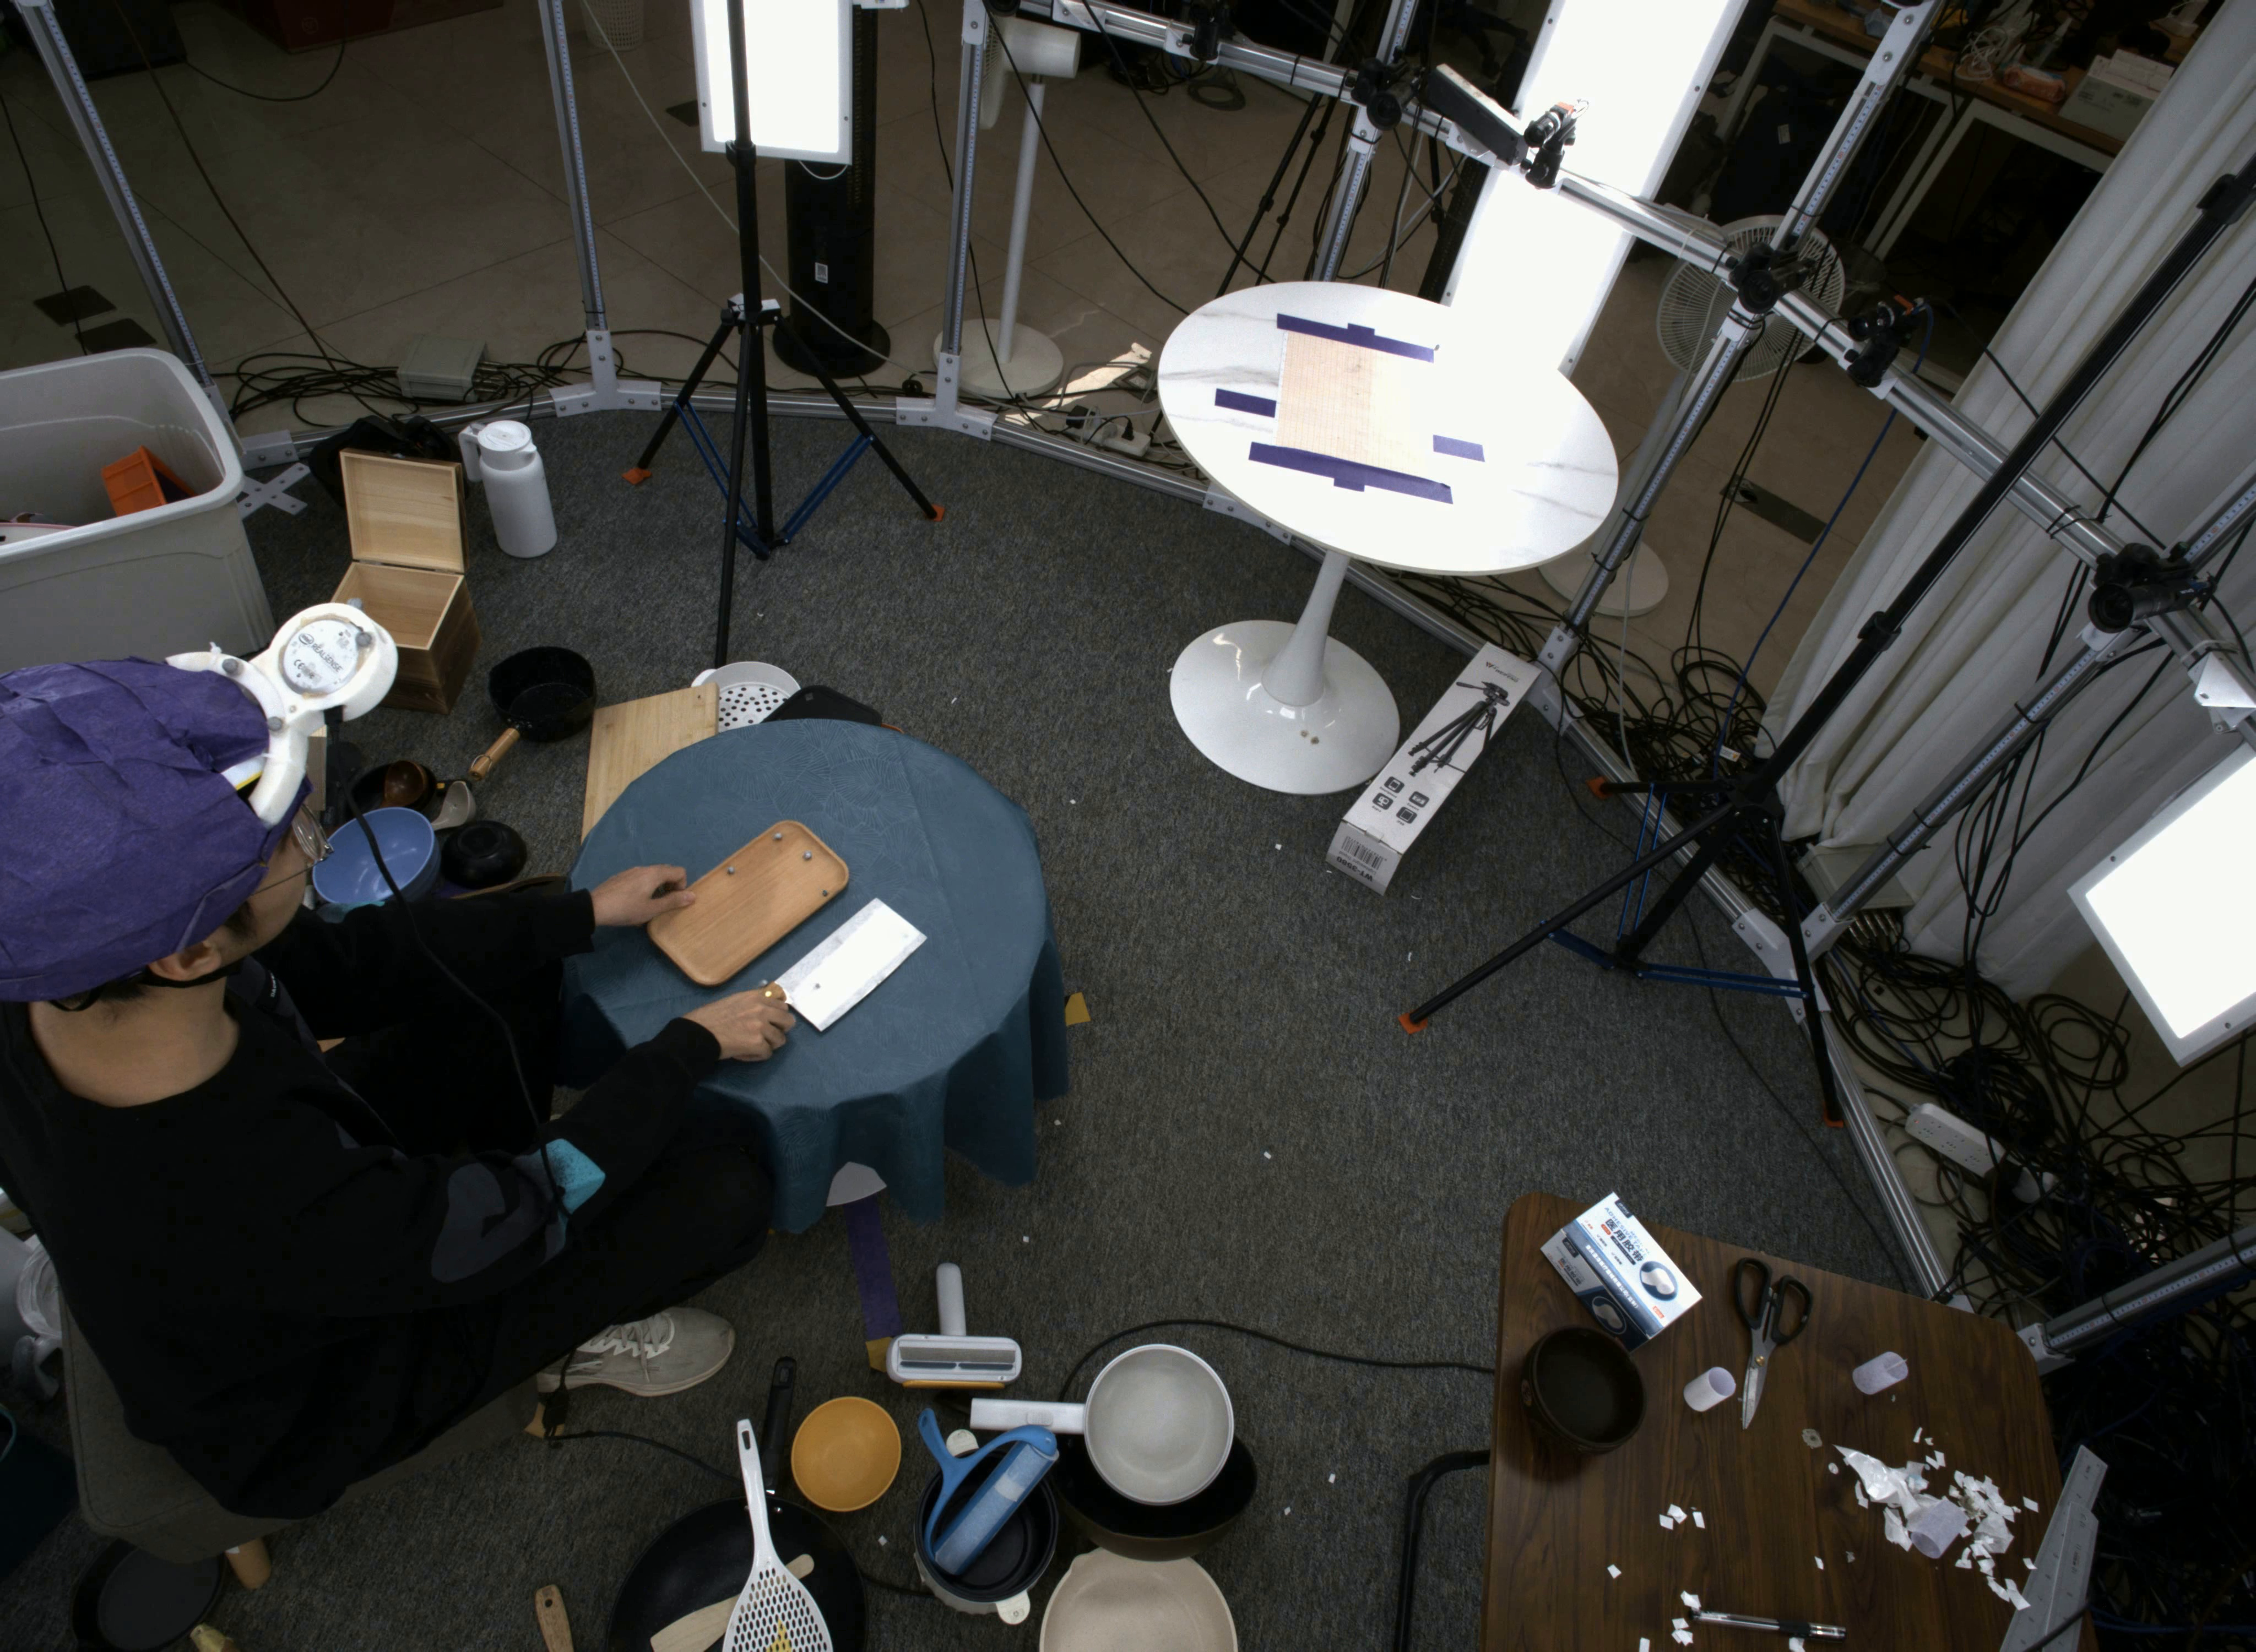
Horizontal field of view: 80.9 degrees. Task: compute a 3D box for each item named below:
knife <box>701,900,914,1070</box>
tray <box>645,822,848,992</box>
[{"bbox_3d":[-0.377,0.198,1.568,0.091,0.021,0.305,37,51,12],"label":"knife"},{"bbox_3d":[-0.473,0.096,1.611,0.128,0.023,0.251,41,55,11],"label":"tray"}]
